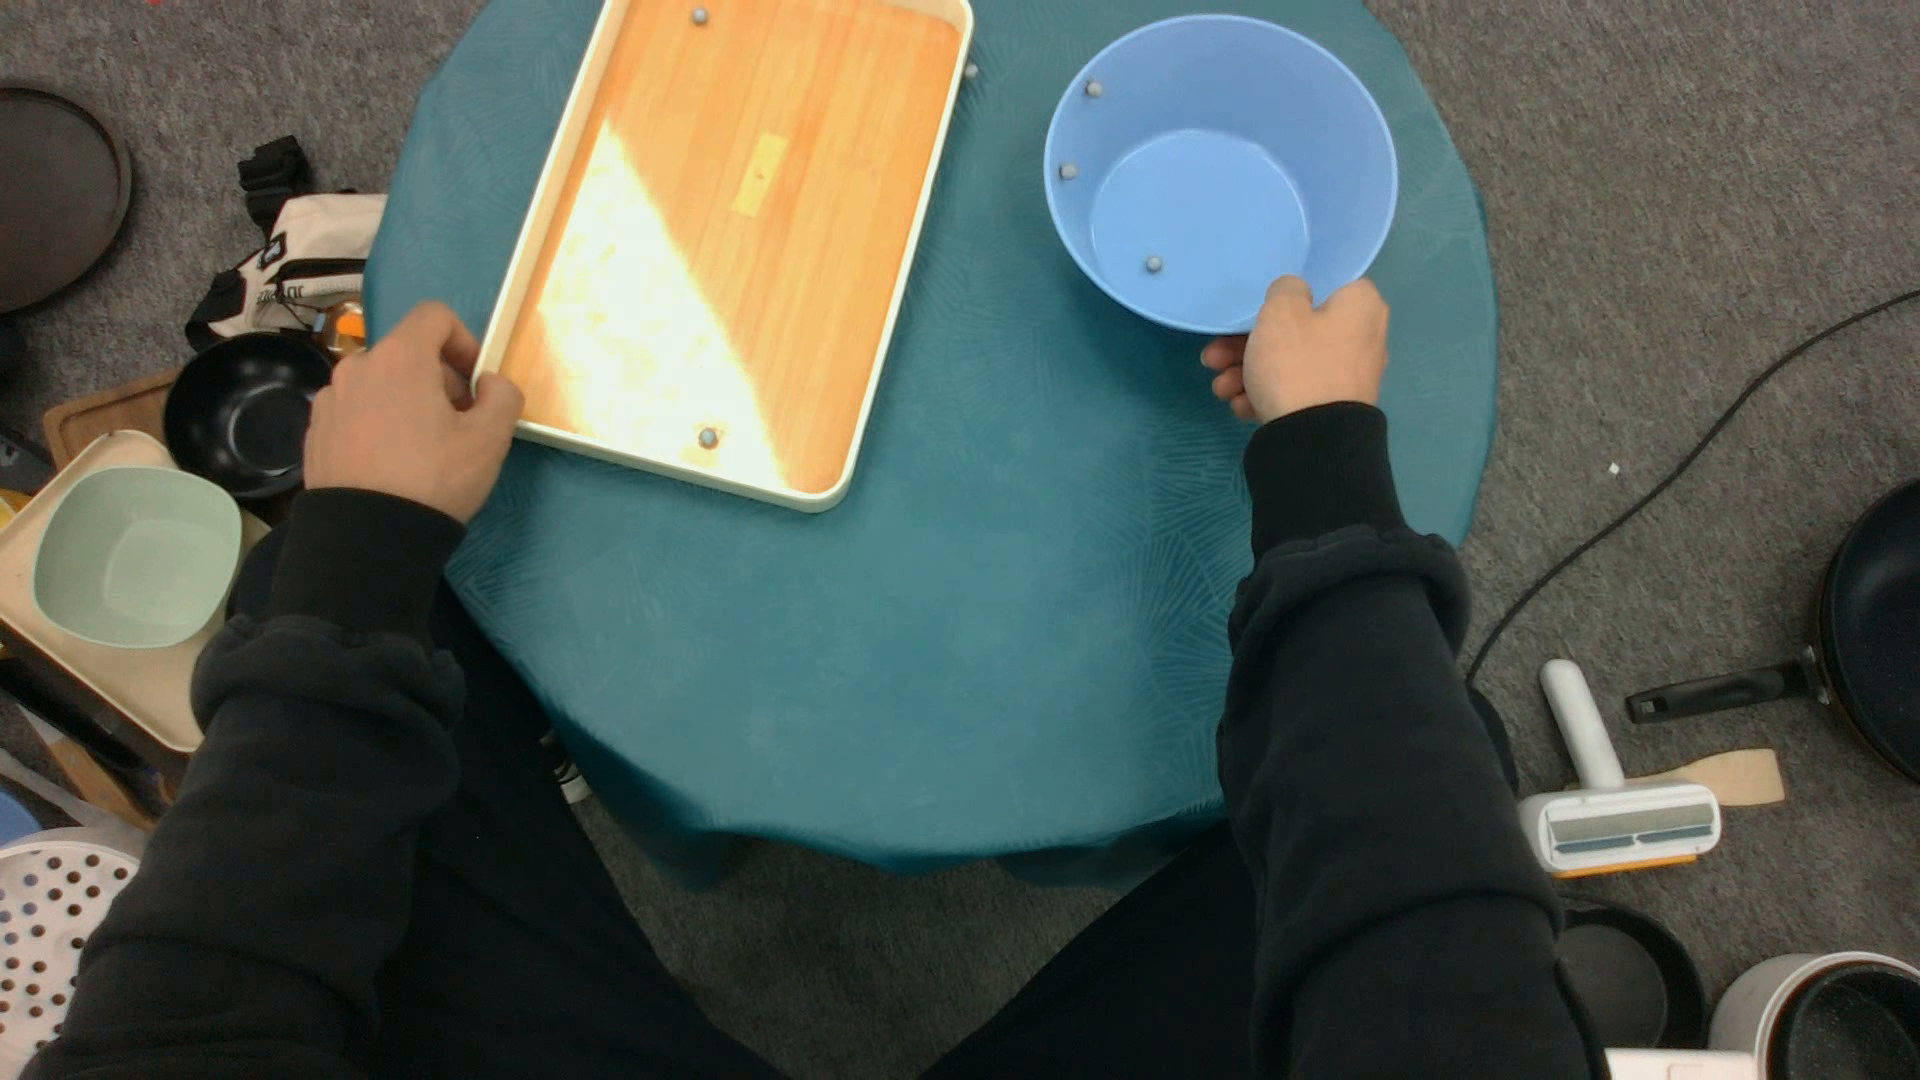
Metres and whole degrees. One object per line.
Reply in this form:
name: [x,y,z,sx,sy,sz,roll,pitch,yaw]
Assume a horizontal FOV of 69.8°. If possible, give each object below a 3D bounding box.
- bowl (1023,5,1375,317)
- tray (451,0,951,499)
bowl: [0.120,-0.184,0.717,0.176,0.070,0.176,0,73,0]
tray: [-0.127,-0.182,0.719,0.191,0.027,0.301,14,74,-2]
